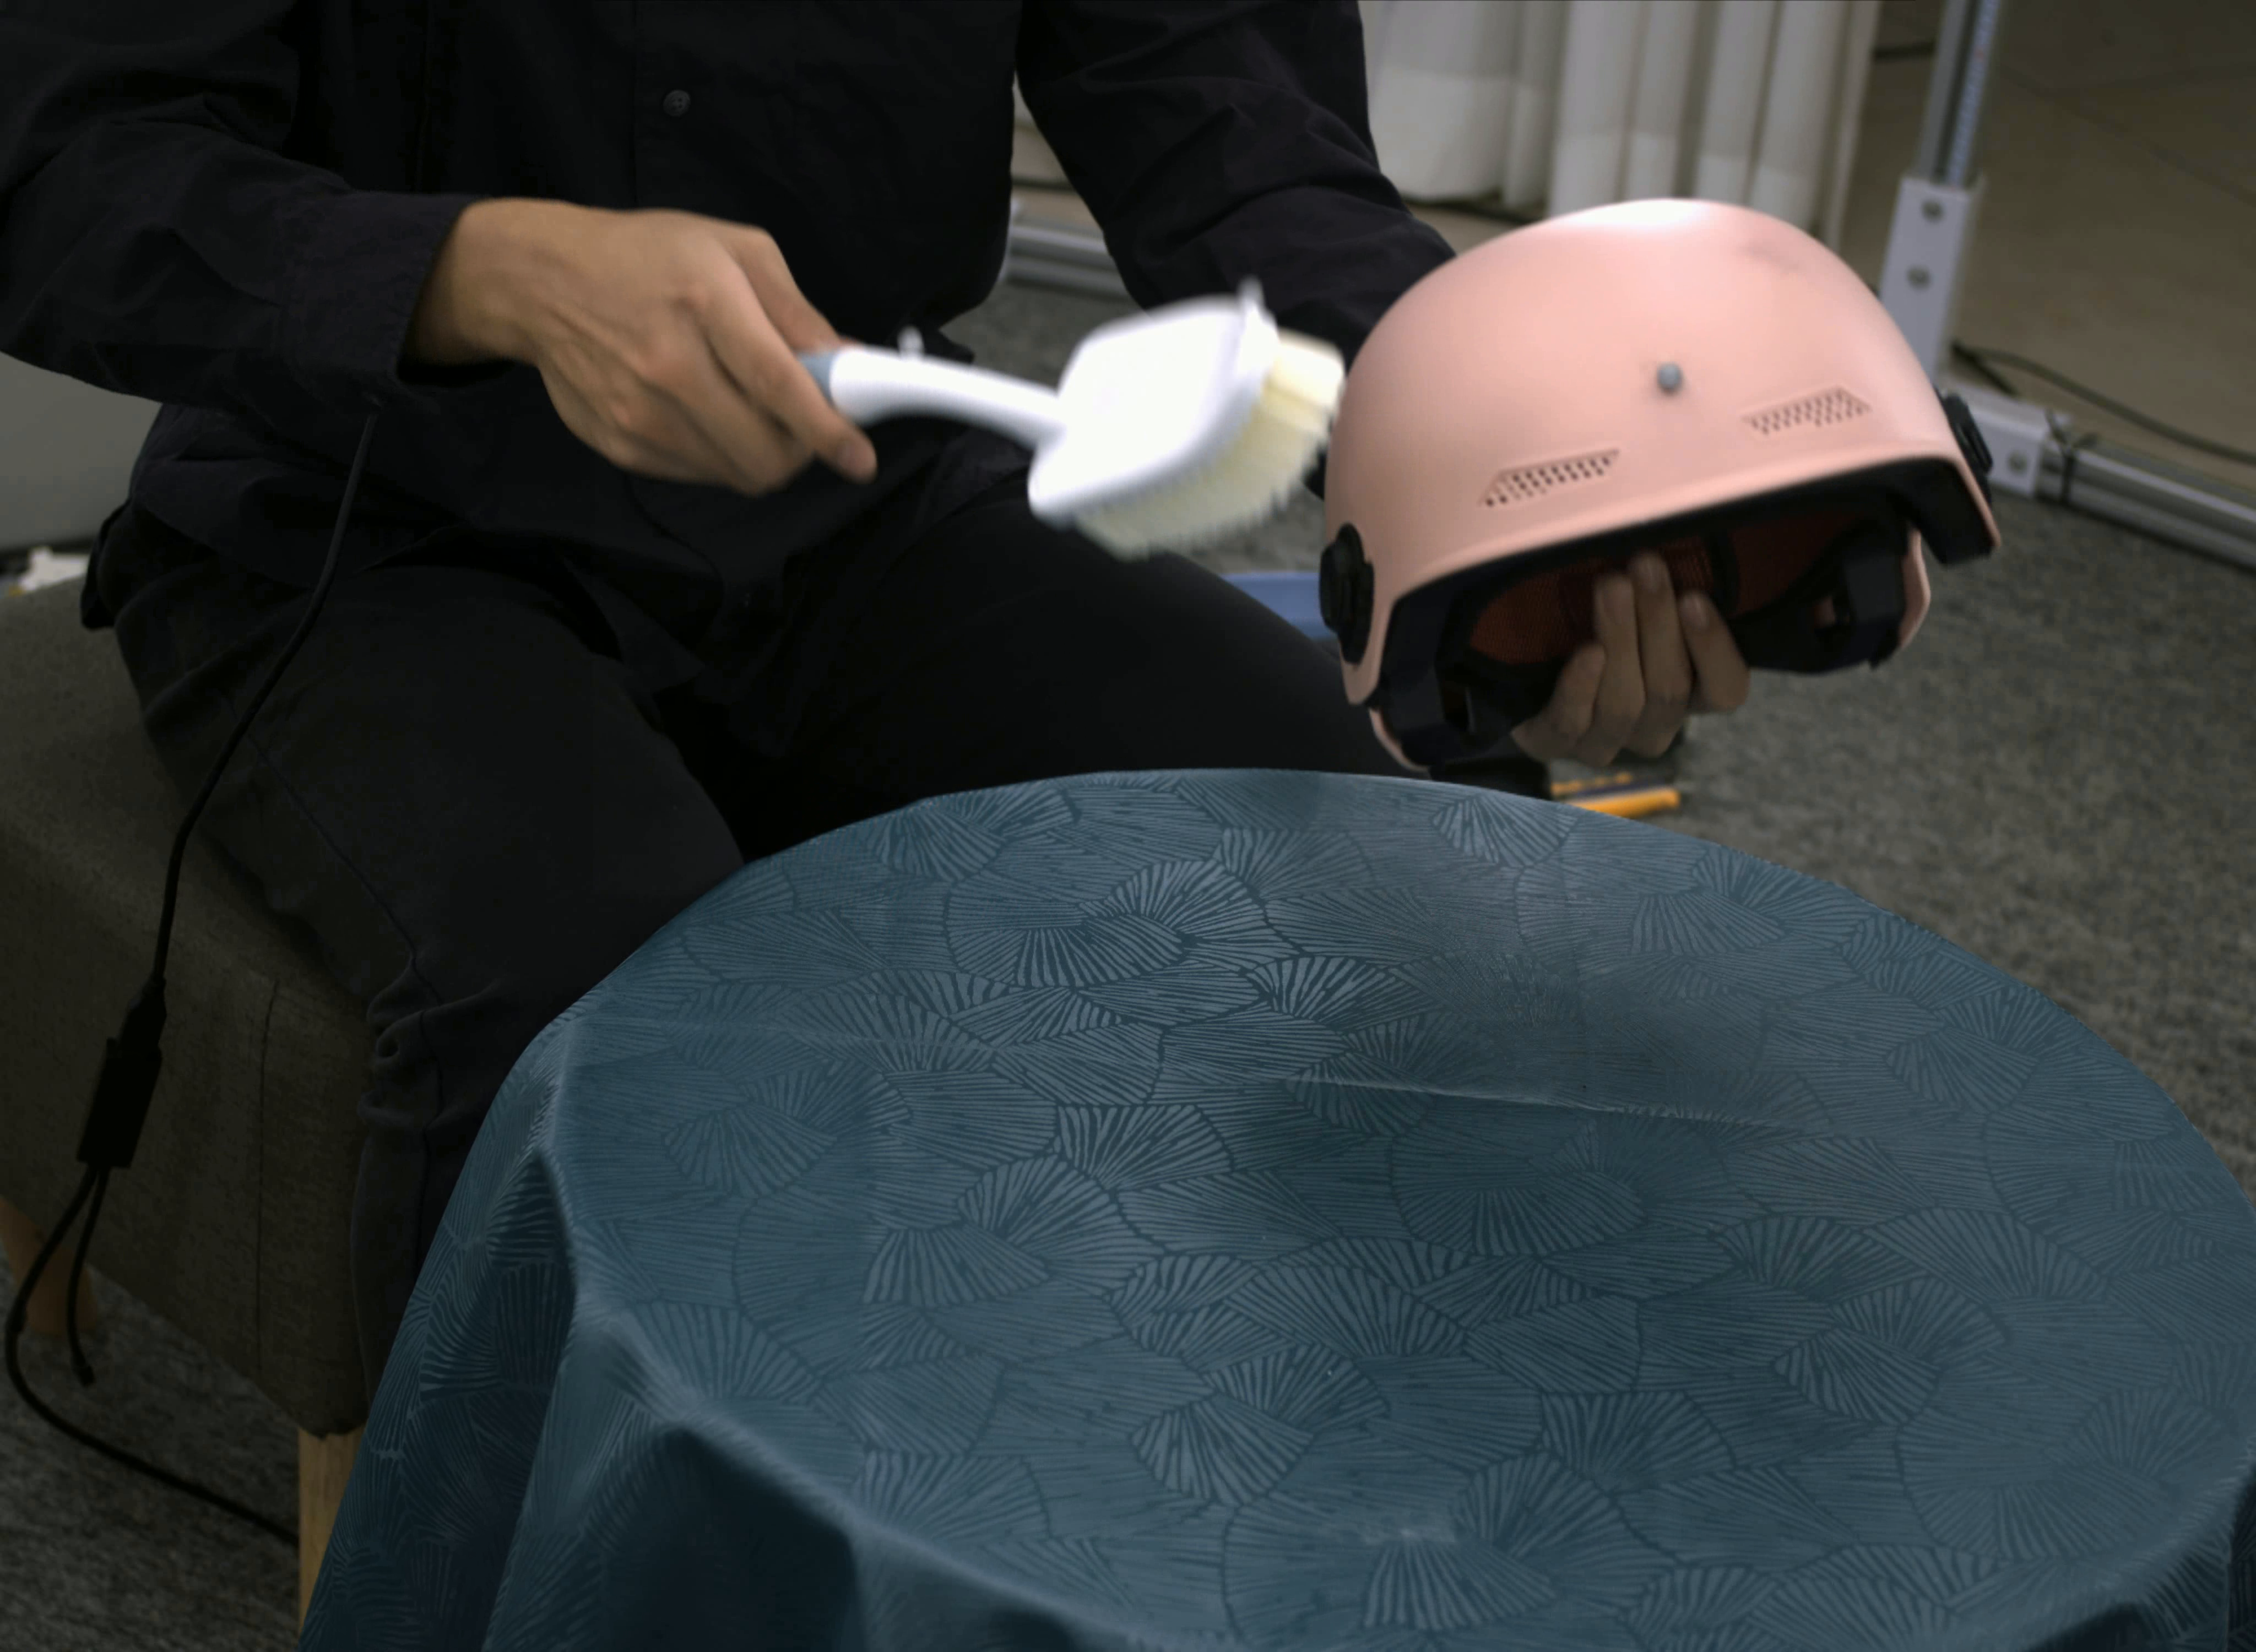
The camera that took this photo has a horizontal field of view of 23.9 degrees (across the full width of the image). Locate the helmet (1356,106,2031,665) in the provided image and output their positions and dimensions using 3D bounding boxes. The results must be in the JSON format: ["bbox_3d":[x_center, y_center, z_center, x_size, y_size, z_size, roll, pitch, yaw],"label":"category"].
[{"bbox_3d":[0.182,-0.169,1.846,0.233,0.160,0.265,-12,-11,-3],"label":"helmet"}]

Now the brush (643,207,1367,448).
[{"bbox_3d":[-0.036,-0.169,1.815,0.327,0.084,0.083,1,30,46],"label":"brush"}]
